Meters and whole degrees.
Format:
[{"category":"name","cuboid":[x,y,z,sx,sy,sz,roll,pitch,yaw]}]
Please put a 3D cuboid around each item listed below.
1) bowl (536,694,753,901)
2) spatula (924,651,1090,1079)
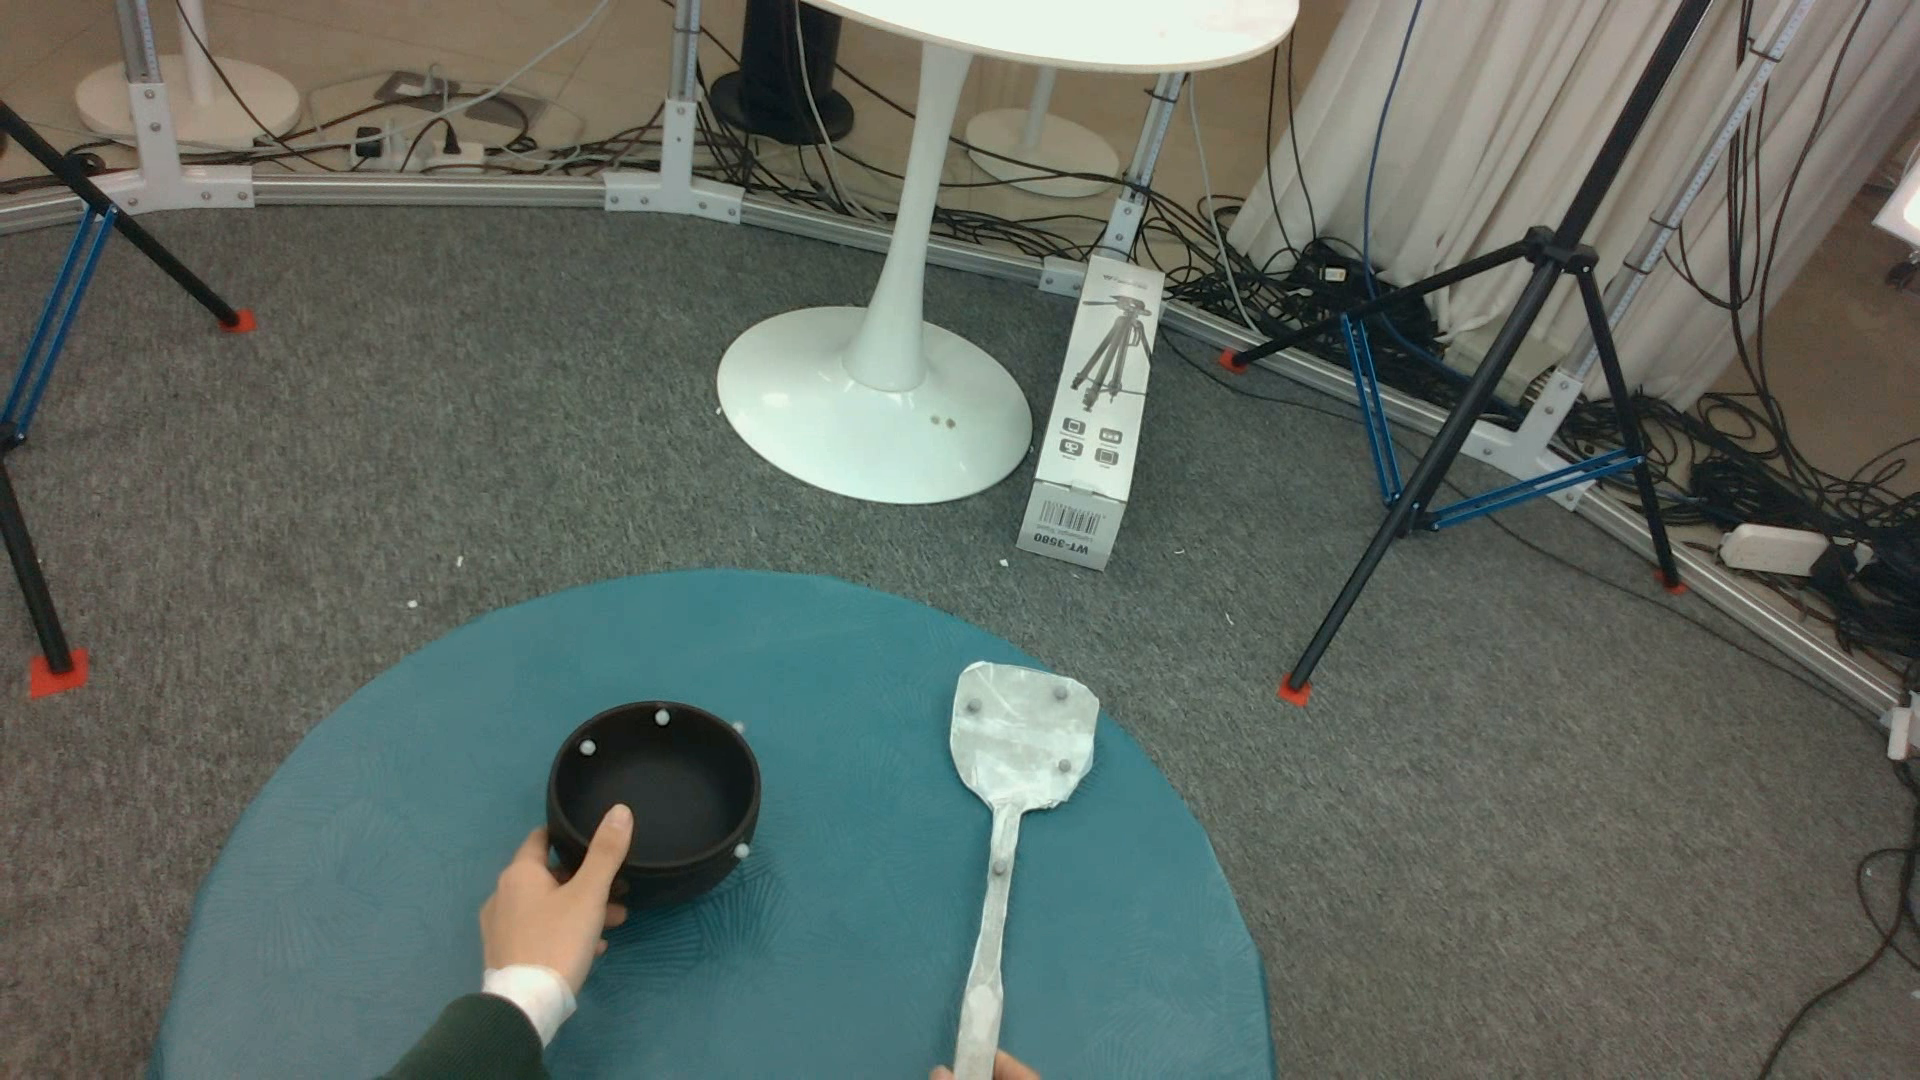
[{"category":"bowl","cuboid":[-0.179,0.153,0.781,0.118,0.069,0.118,8,42,-7]},{"category":"spatula","cuboid":[0.014,0.204,0.806,0.099,0.044,0.367,15,37,0]}]
